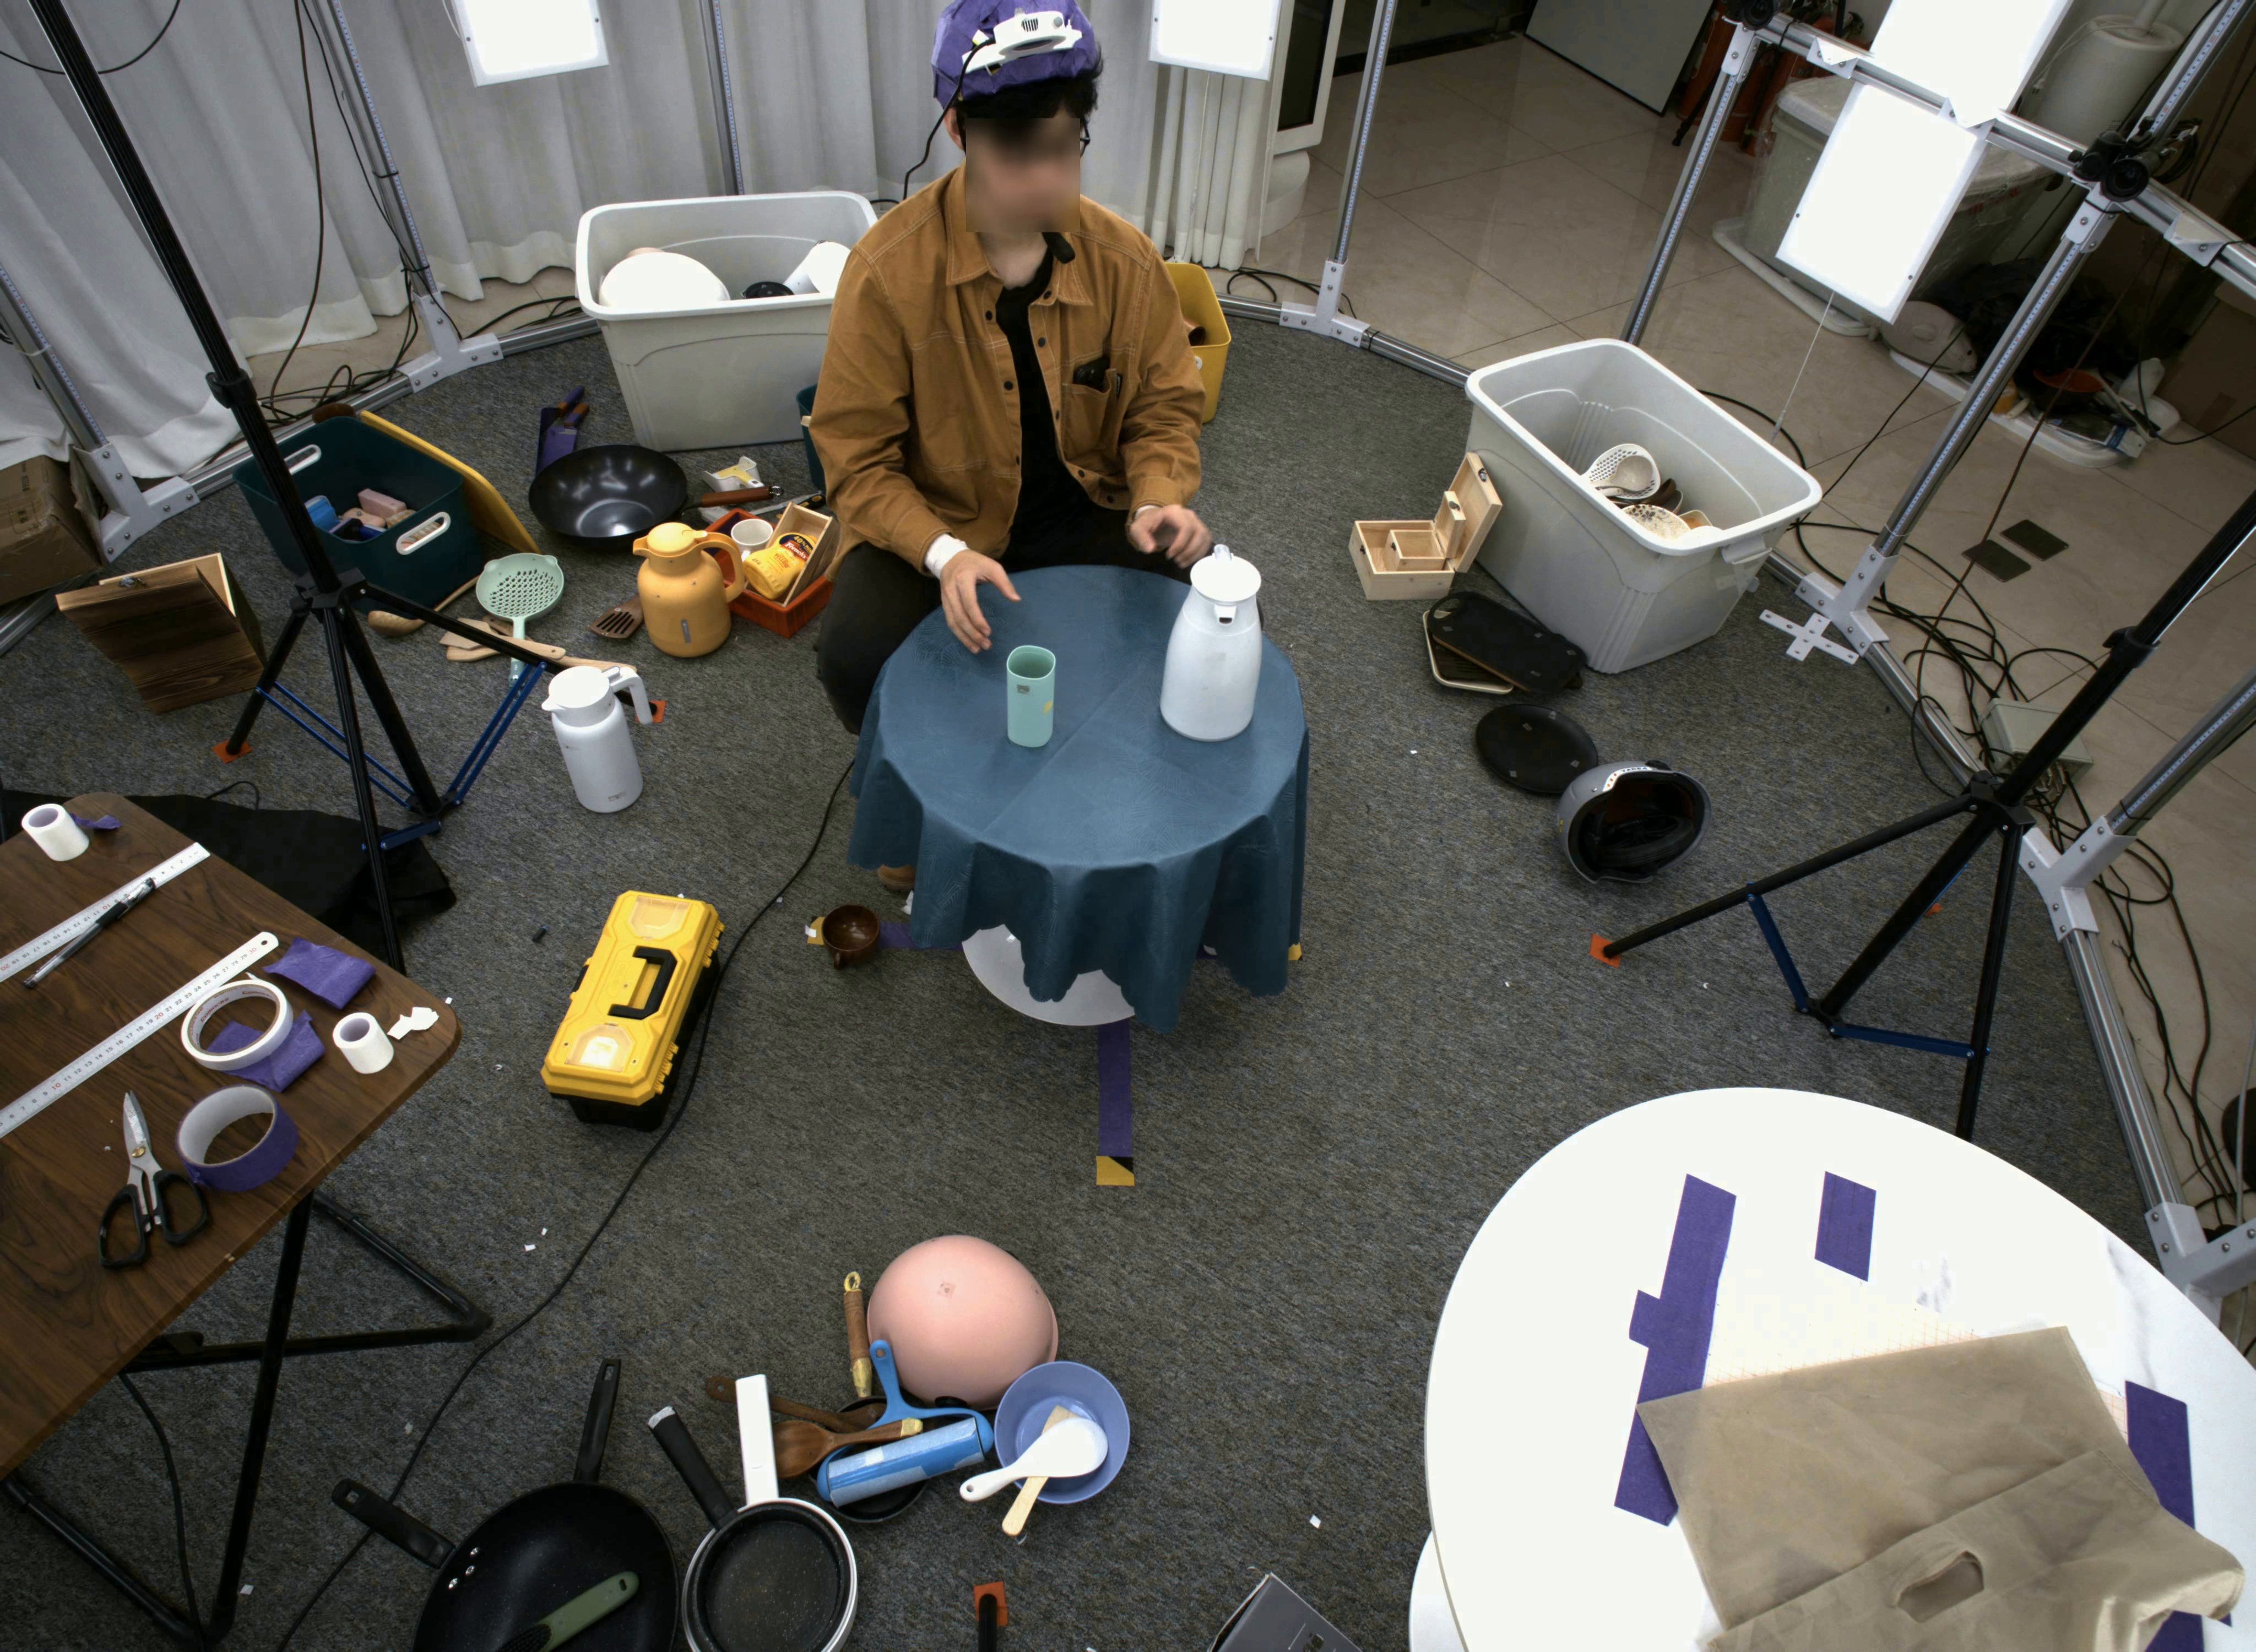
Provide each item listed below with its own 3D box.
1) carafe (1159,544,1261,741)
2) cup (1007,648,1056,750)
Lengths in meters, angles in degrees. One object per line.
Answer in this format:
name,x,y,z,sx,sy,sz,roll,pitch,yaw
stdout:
carafe,0.116,-0.260,1.742,0.132,0.242,0.172,2,49,-2
cup,-0.132,-0.170,1.729,0.066,0.129,0.068,2,49,-3
